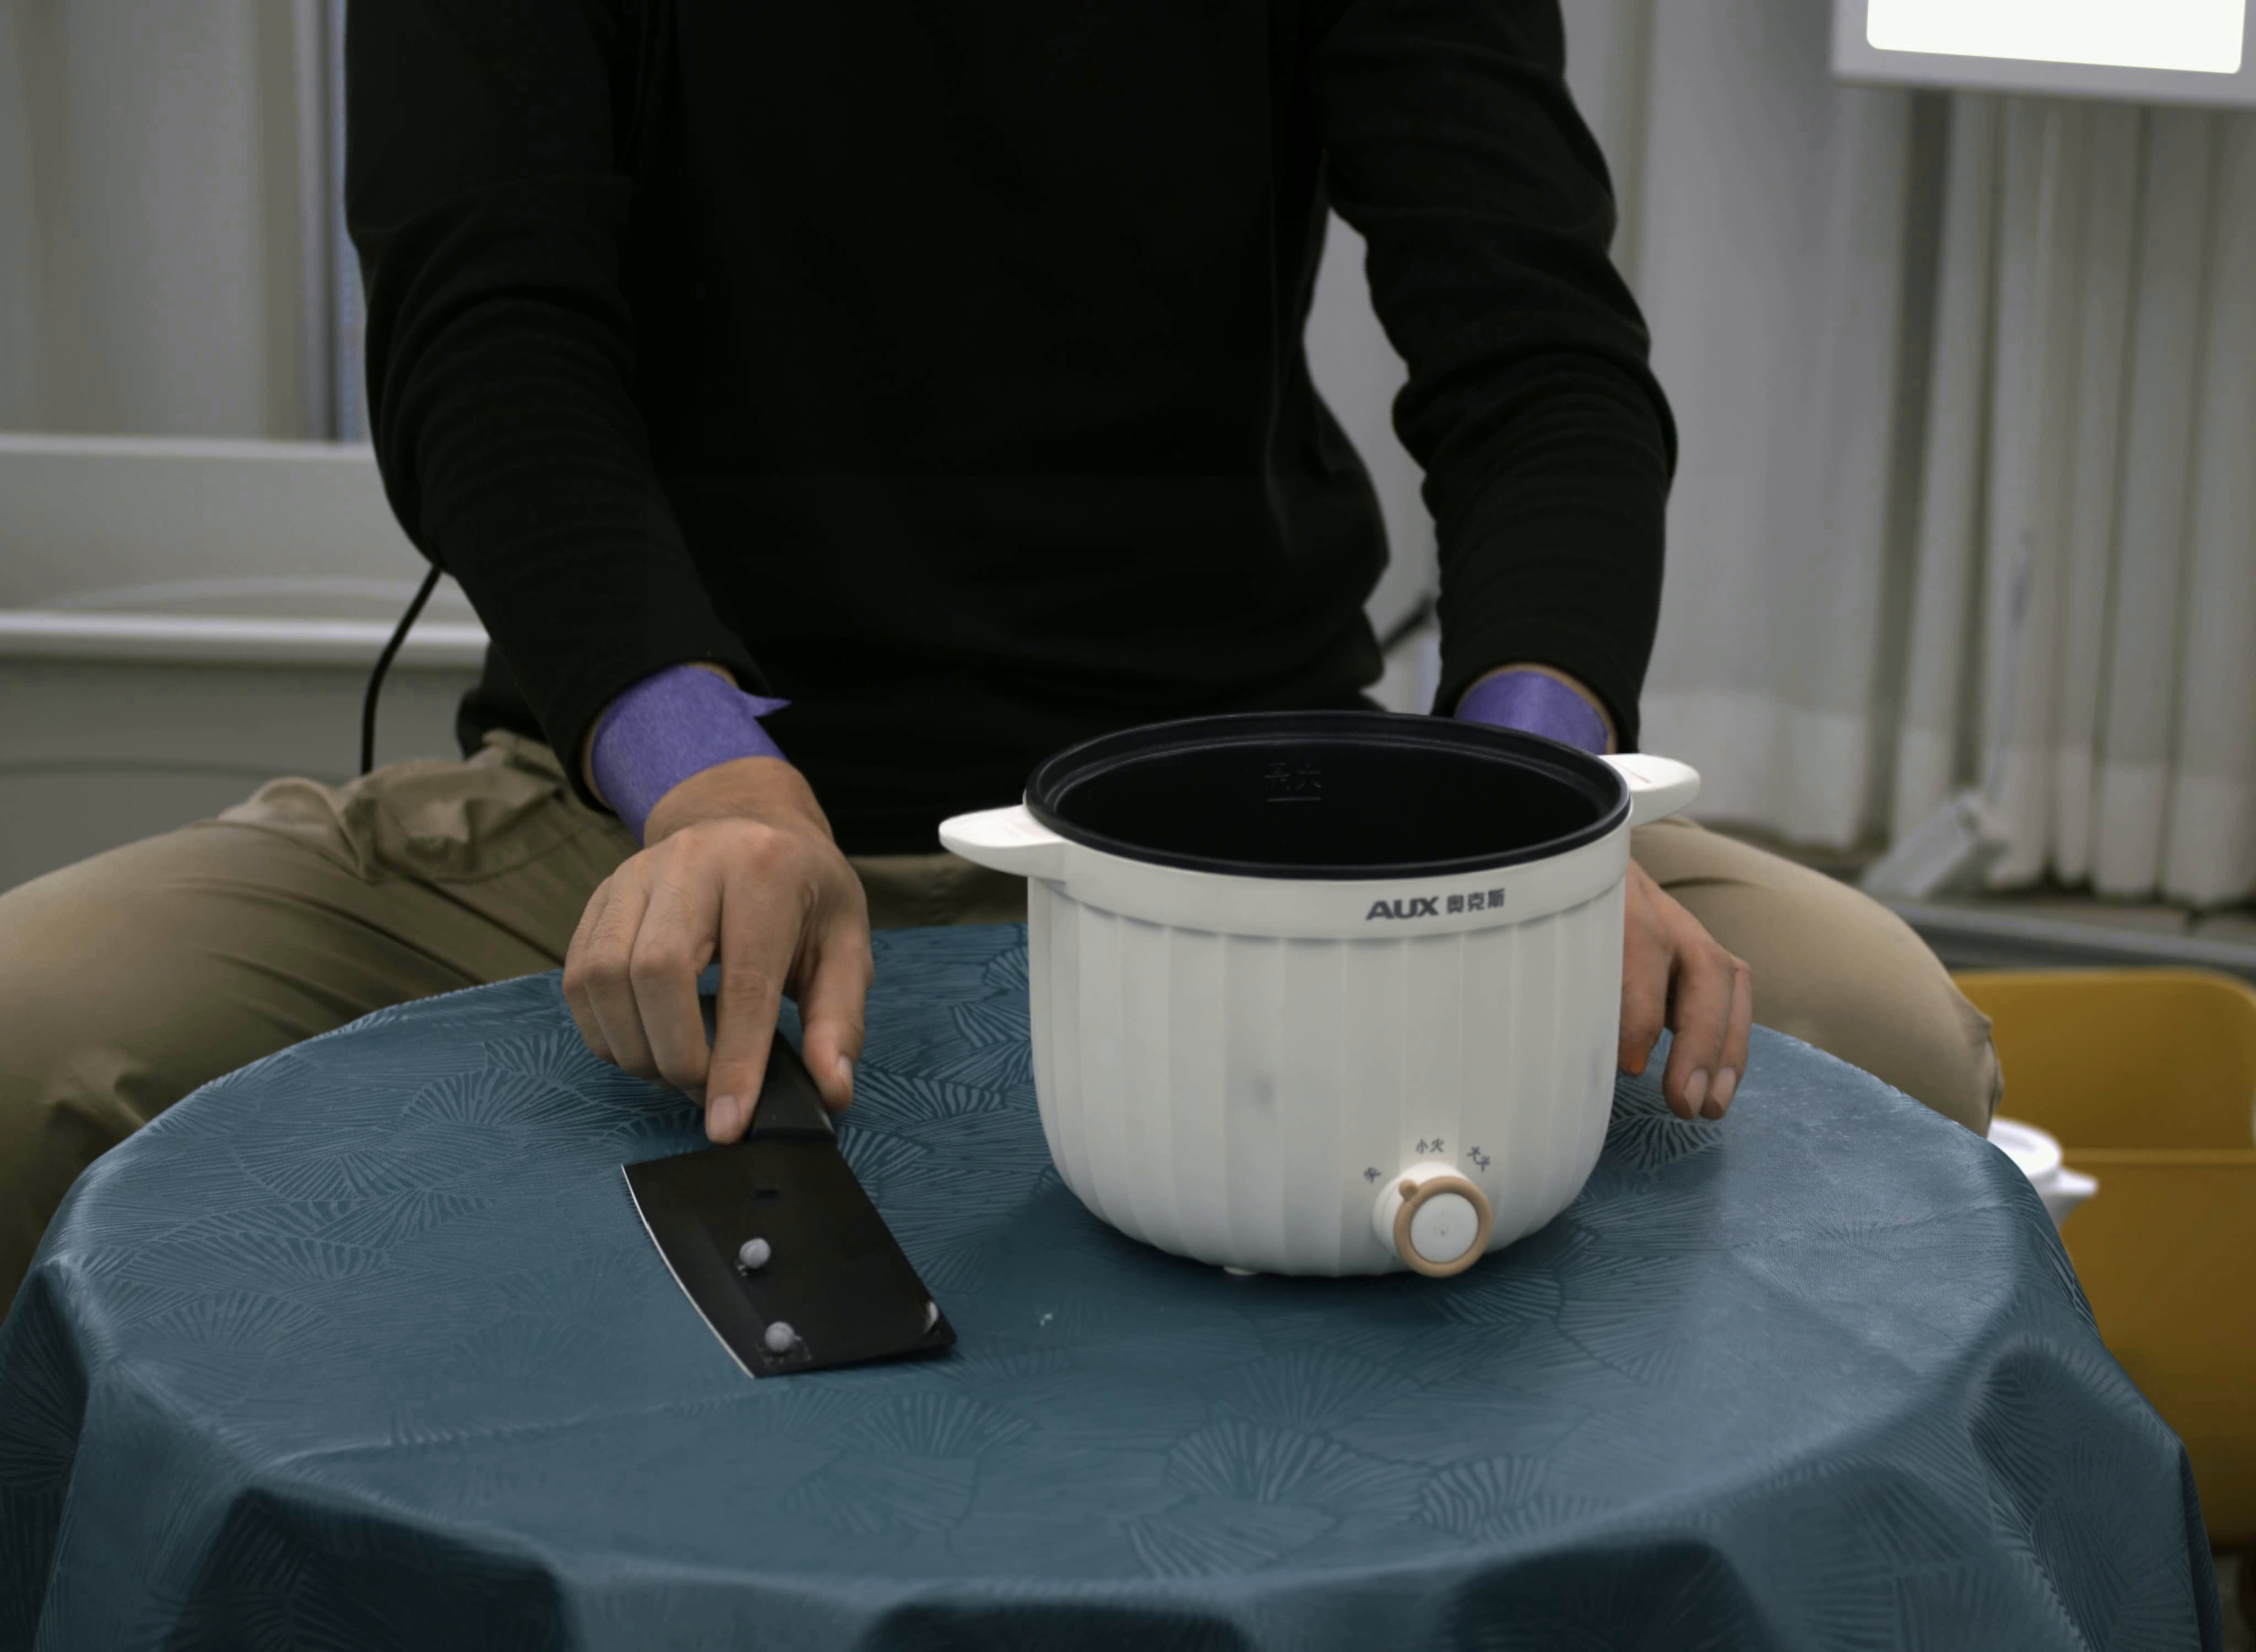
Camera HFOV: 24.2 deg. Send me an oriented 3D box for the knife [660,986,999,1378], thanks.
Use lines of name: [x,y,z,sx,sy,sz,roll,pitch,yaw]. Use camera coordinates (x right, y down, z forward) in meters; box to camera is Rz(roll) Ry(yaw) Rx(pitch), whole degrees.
knife: [-0.104,0.106,1.612,0.081,0.021,0.299,-8,19,-10]

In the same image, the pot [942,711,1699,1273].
pot: [0.063,0.053,1.581,0.241,0.144,0.188,-6,14,-19]
